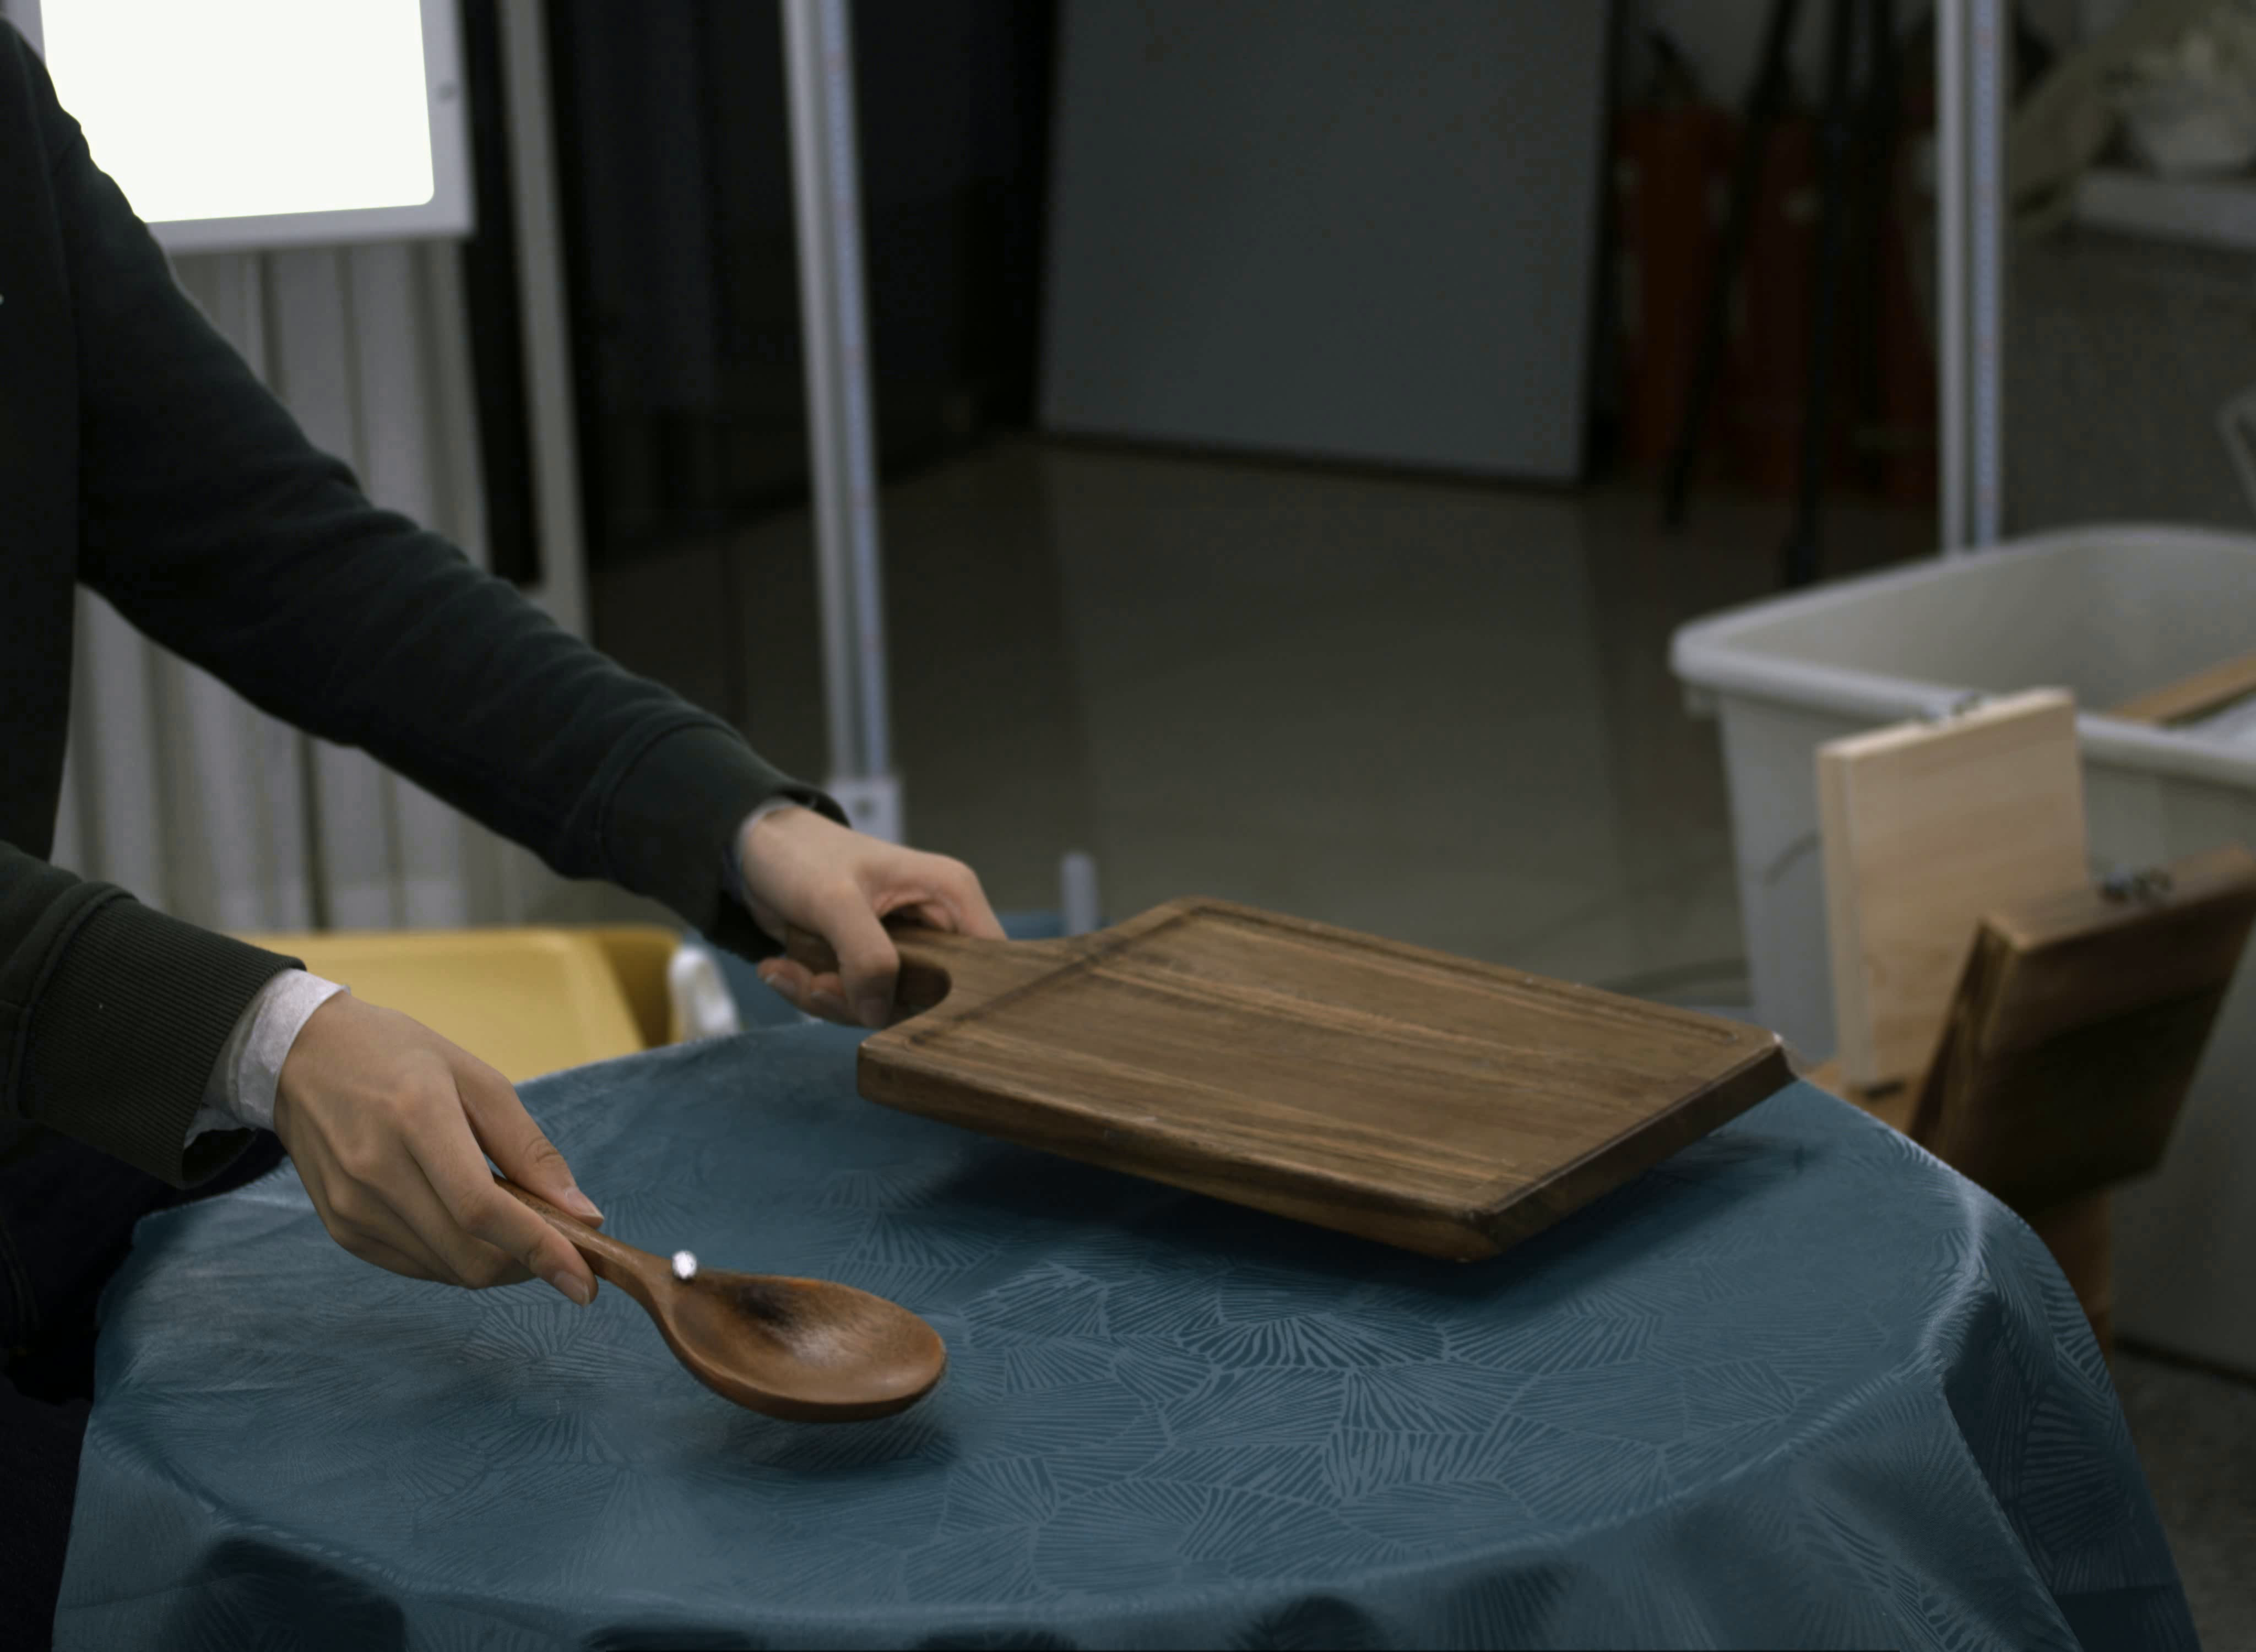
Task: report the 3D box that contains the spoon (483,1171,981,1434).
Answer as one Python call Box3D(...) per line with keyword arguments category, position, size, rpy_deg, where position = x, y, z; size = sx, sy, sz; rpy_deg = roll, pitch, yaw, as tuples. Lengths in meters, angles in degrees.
Box3D(category="spoon", position=(-0.125, 0.142, 1.609), size=(0.074, 0.017, 0.218), rpy_deg=(-11, 22, -39))

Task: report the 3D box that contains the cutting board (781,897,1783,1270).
Box3D(category="cutting board", position=(0.025, 0.071, 1.803), size=(0.354, 0.023, 0.197), rpy_deg=(12, 23, 35))
